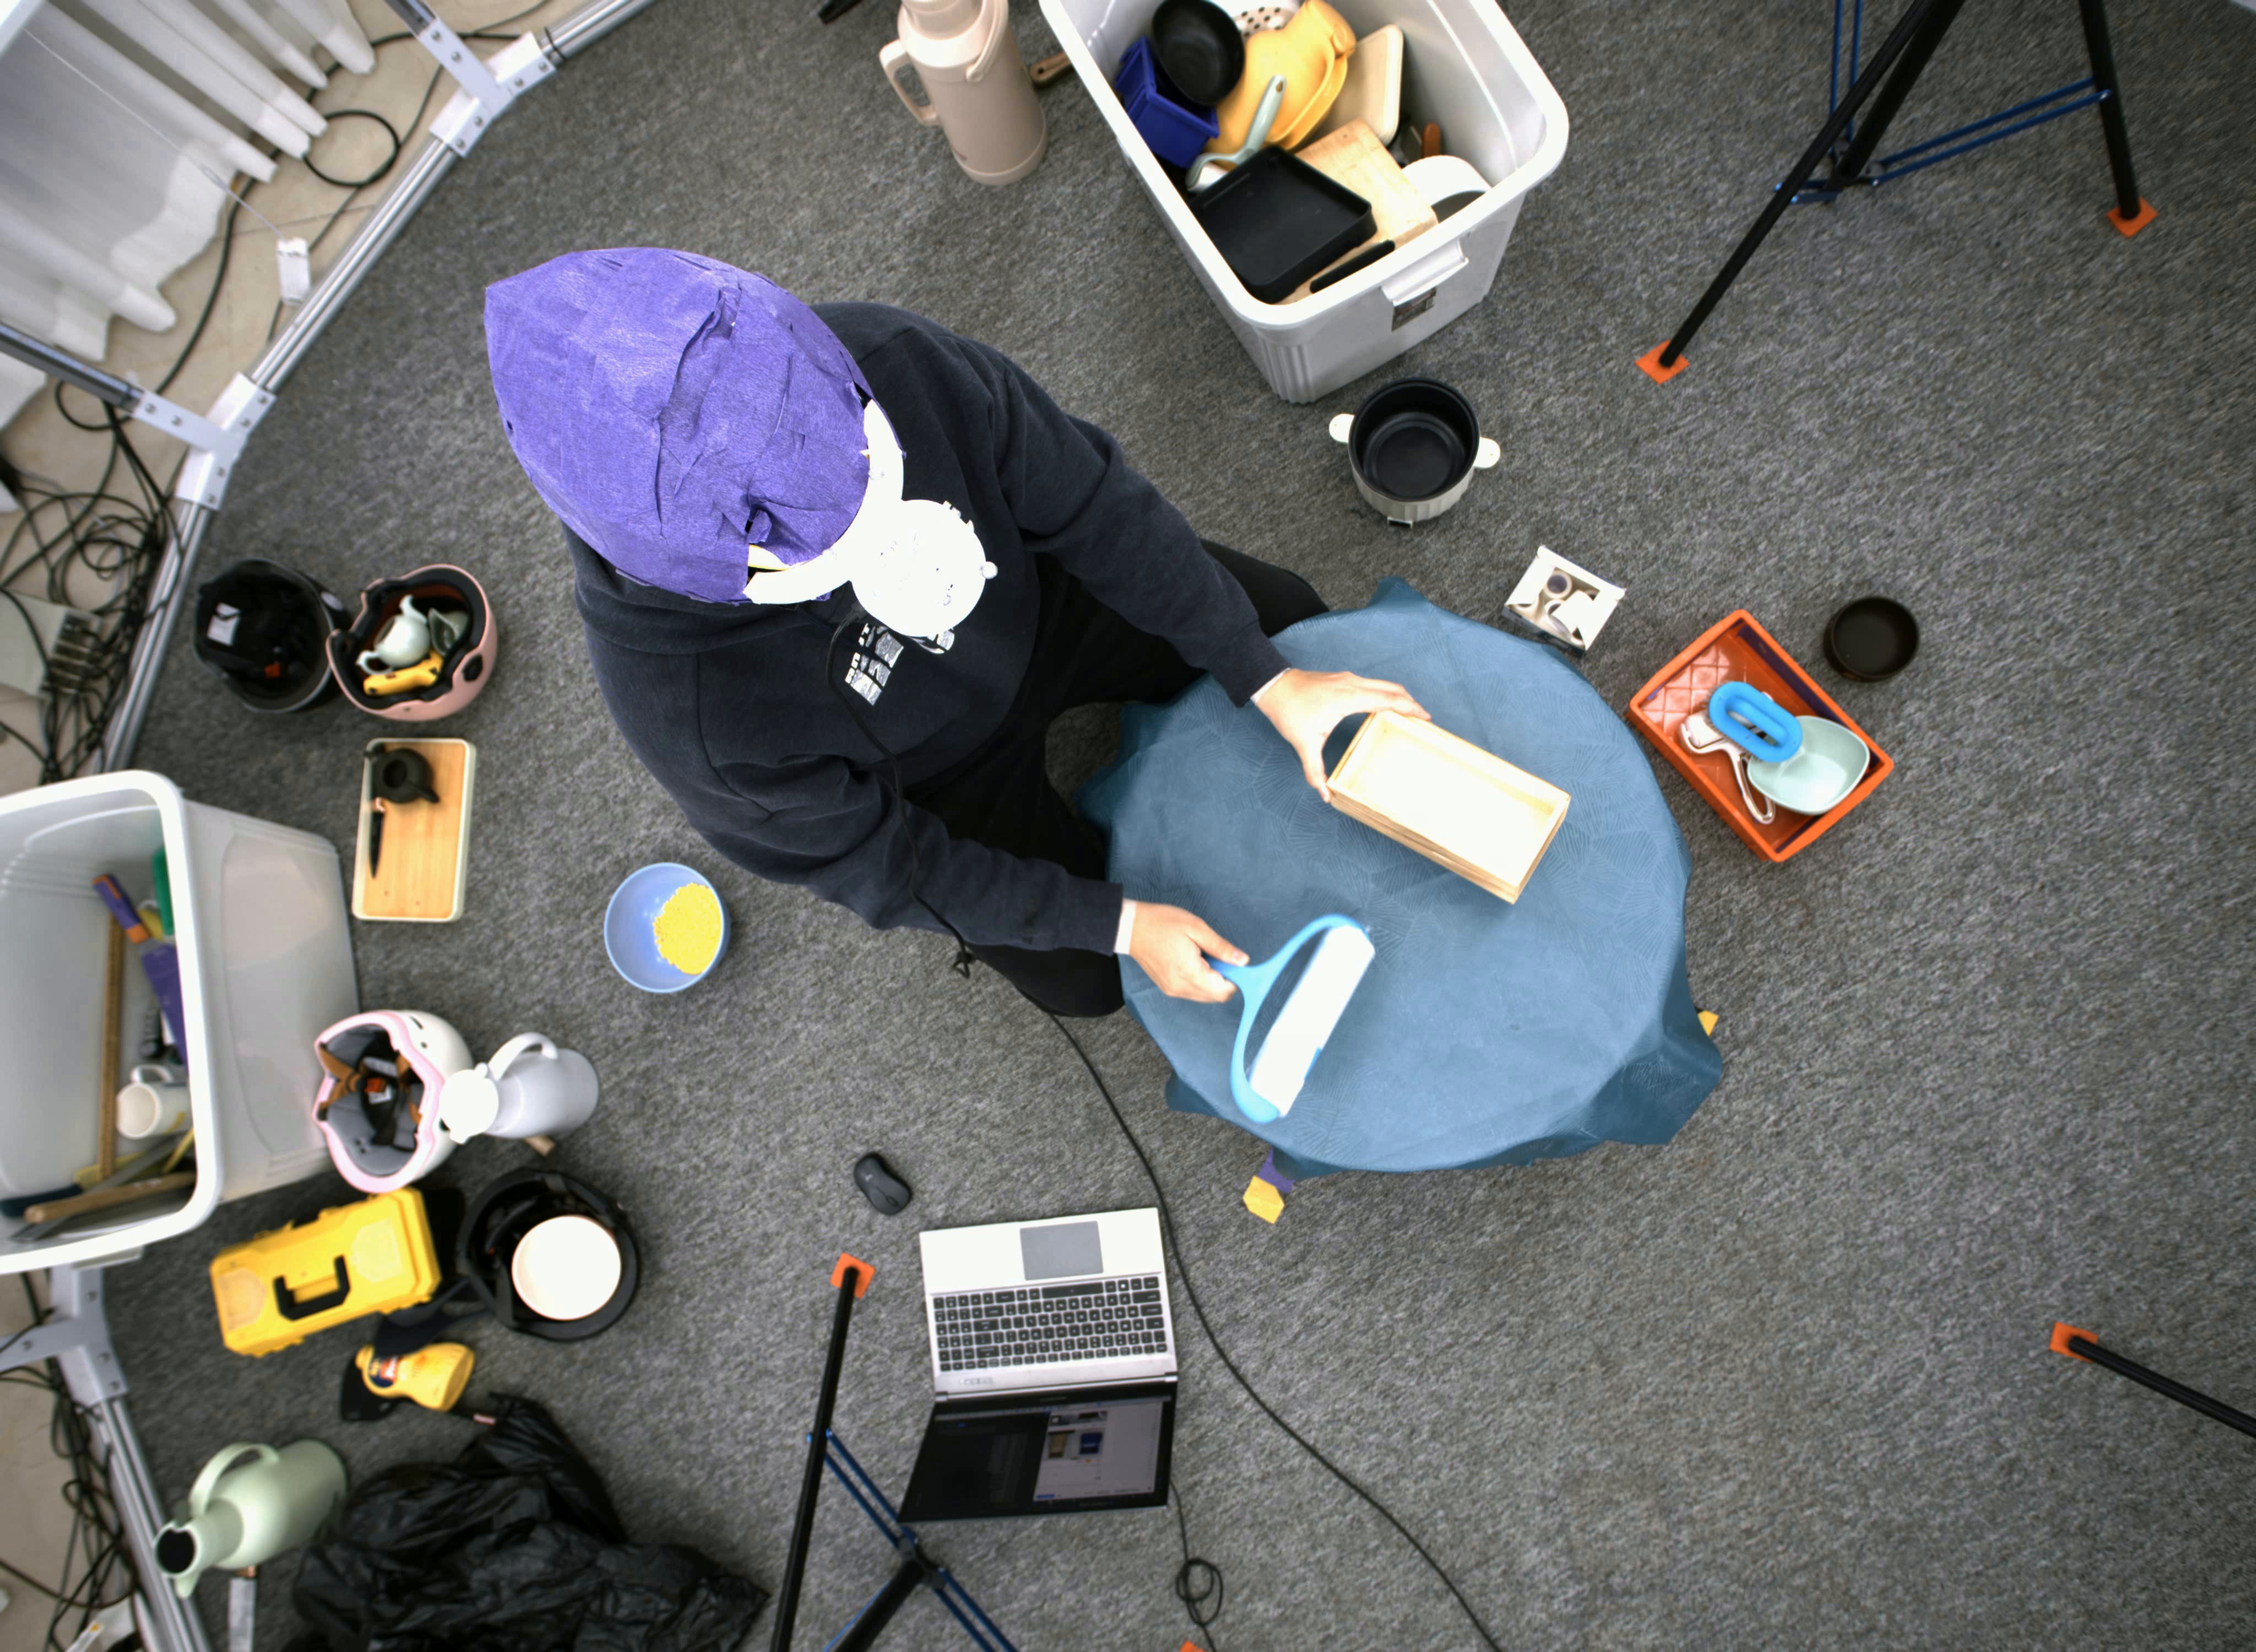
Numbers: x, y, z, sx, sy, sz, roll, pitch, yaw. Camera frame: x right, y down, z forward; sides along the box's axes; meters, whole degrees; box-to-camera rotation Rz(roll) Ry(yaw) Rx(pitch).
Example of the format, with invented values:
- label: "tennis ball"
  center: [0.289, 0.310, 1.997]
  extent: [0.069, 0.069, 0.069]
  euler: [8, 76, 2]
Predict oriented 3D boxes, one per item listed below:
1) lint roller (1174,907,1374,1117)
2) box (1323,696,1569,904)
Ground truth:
- label: "lint roller"
  center: [0.126, 0.160, 1.390]
  extent: [0.180, 0.069, 0.226]
  euler: [25, 75, 12]
- label: "box"
  center: [0.314, -0.028, 1.369]
  extent: [0.210, 0.081, 0.107]
  euler: [29, 84, 19]
